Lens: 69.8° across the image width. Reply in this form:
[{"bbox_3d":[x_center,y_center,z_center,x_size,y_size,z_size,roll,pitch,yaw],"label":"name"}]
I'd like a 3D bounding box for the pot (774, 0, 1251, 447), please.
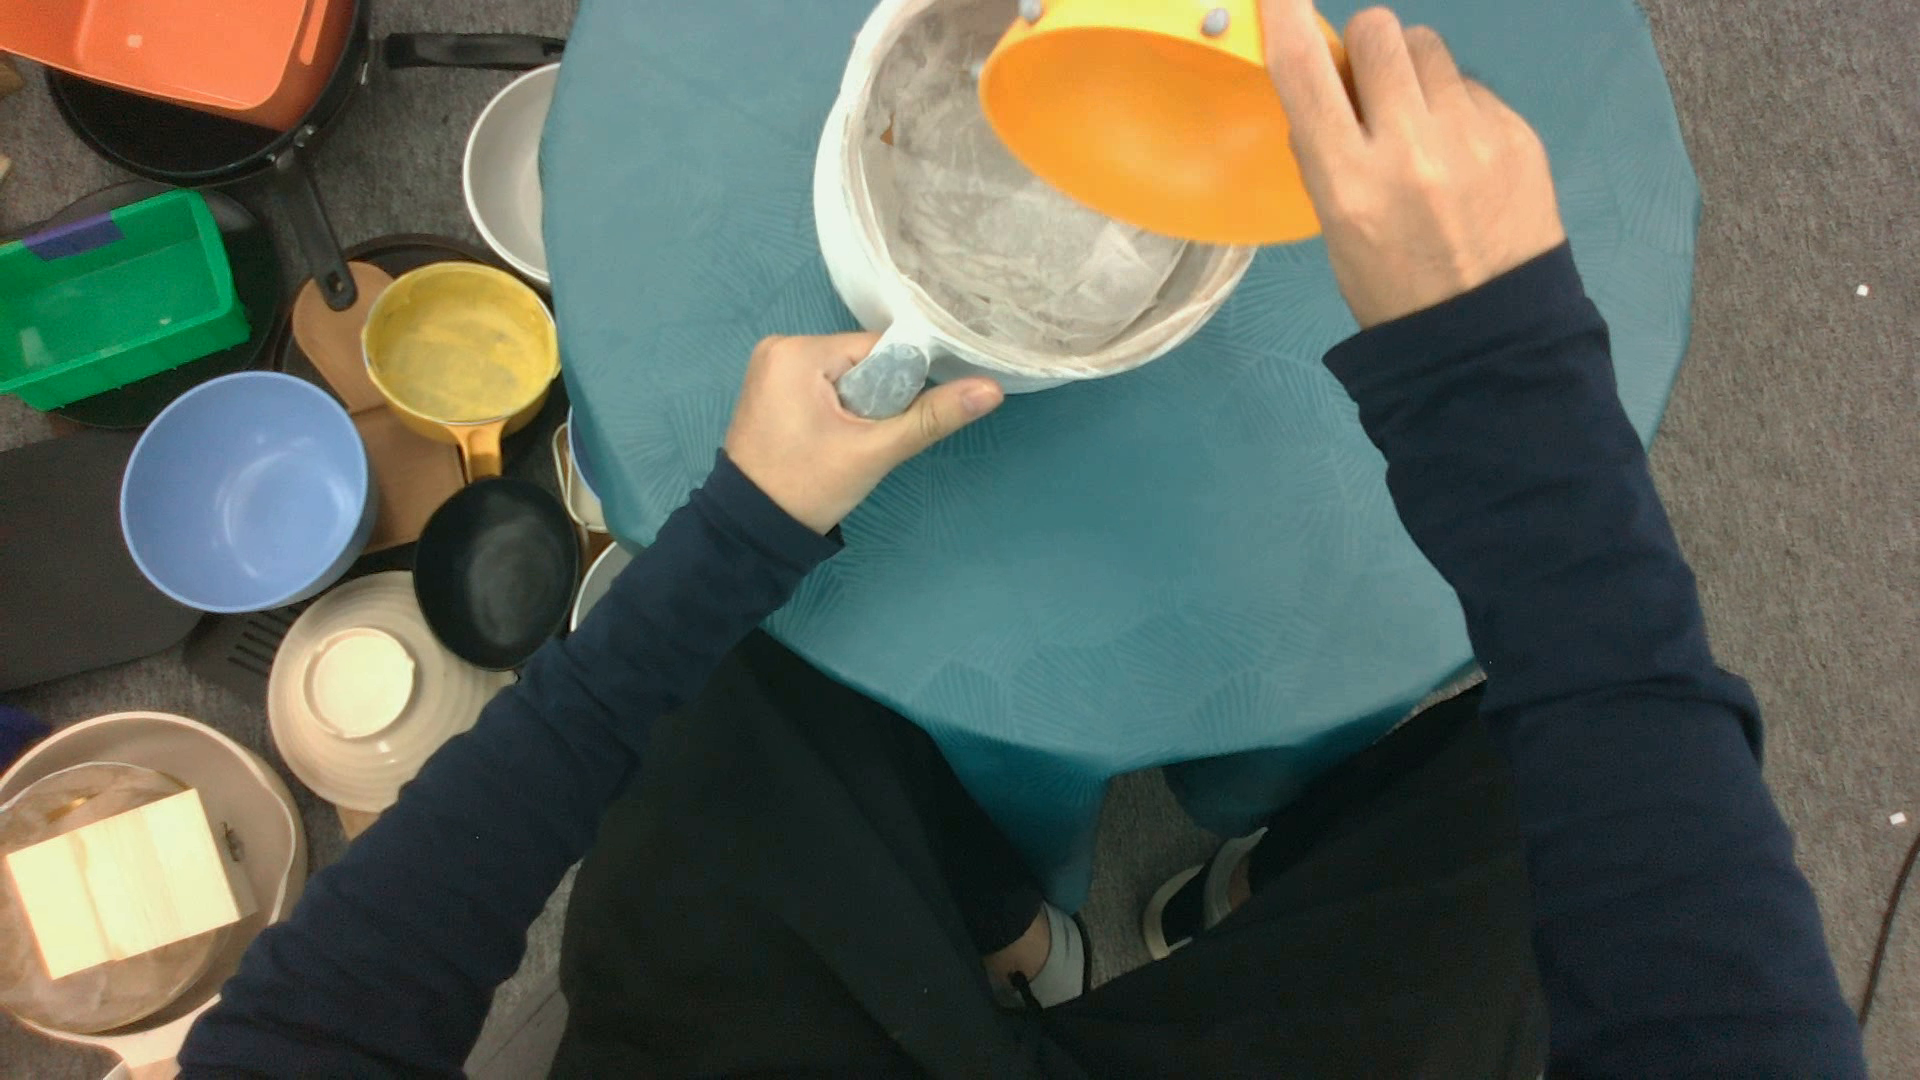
[{"bbox_3d":[0.004,-0.138,0.602,0.178,0.136,0.234,37,87,-12],"label":"pot"}]

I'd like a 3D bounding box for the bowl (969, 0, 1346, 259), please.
[{"bbox_3d":[0.079,-0.167,0.506,0.145,0.145,0.060,23,78,1],"label":"bowl"}]
